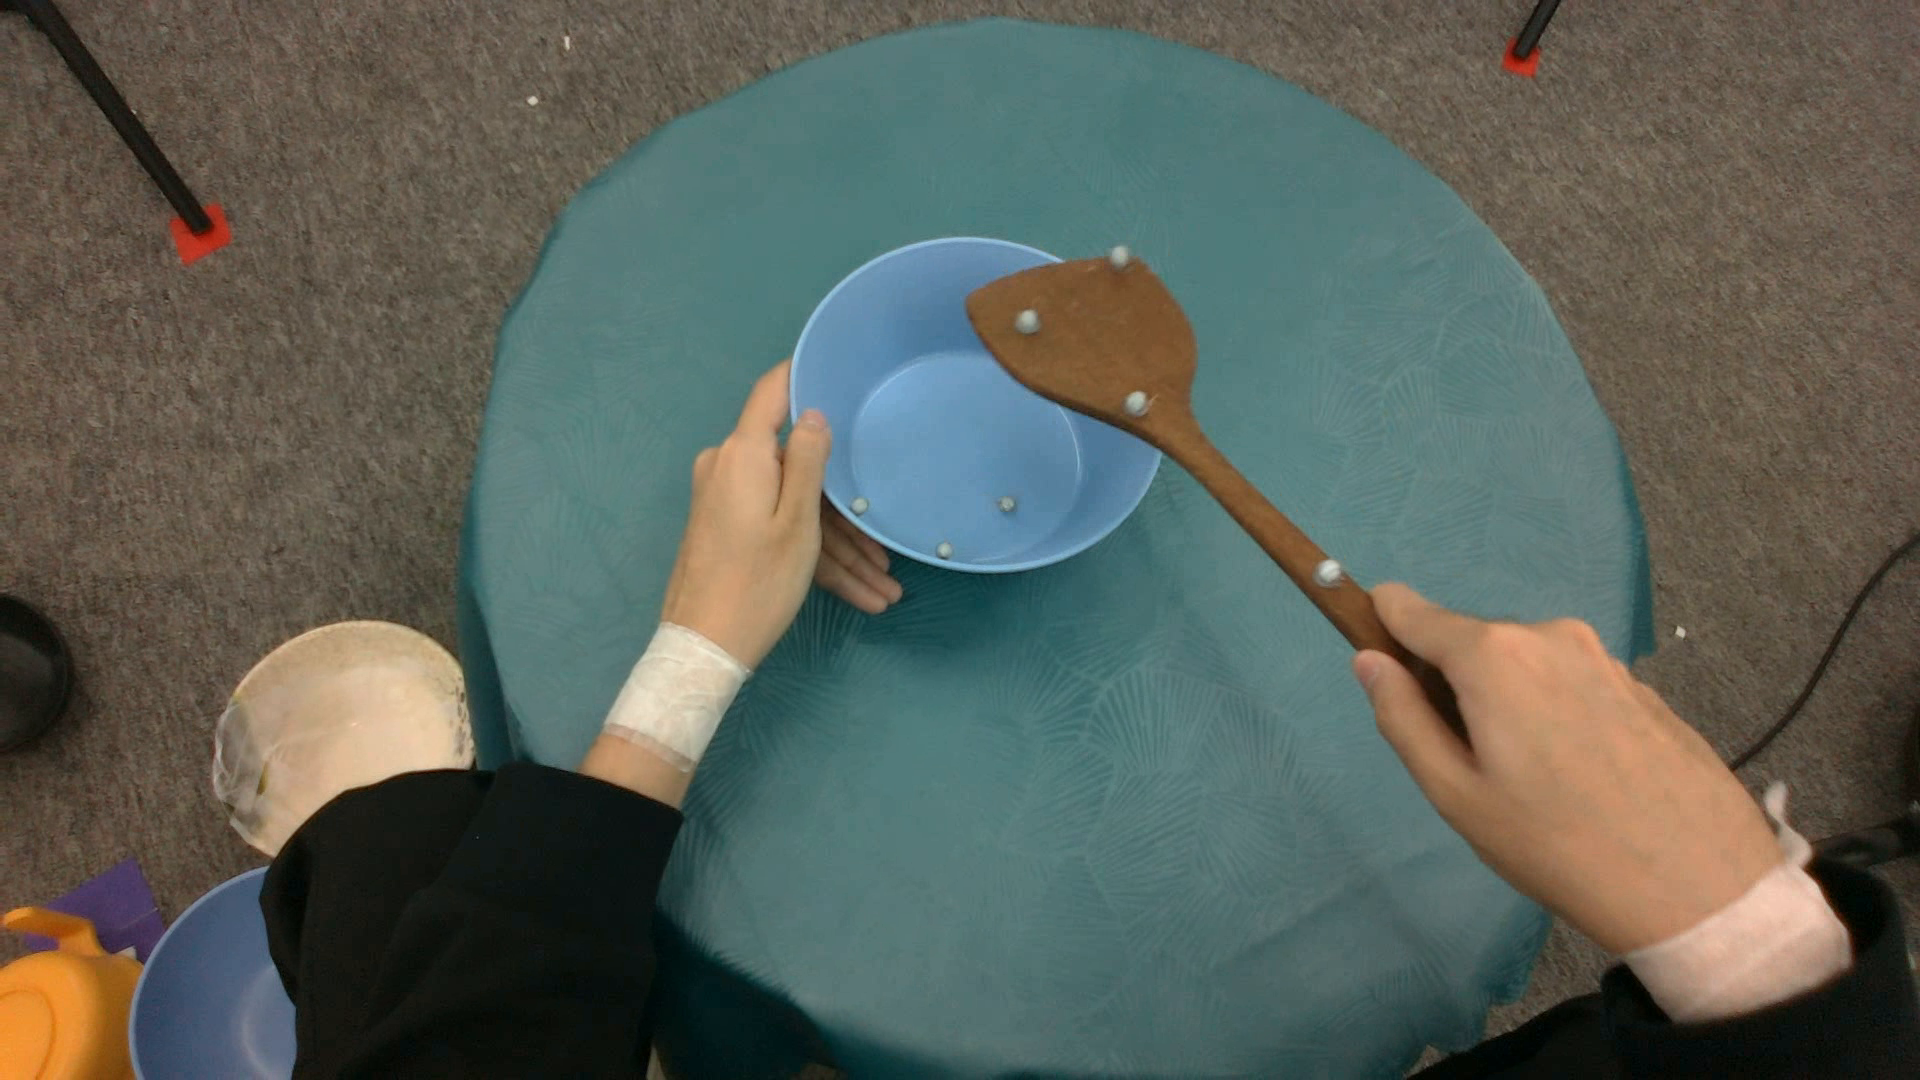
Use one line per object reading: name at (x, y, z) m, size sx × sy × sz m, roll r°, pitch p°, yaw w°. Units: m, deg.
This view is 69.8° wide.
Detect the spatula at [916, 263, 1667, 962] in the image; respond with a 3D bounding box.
spatula at (0.107, -0.001, 0.513) m, size 0.096 × 0.016 × 0.386 m, roll -19°, pitch 47°, yaw -23°

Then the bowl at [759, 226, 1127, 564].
bowl at (-0.008, -0.060, 0.667) m, size 0.176 × 0.070 × 0.176 m, roll 3°, pitch 67°, yaw -7°
